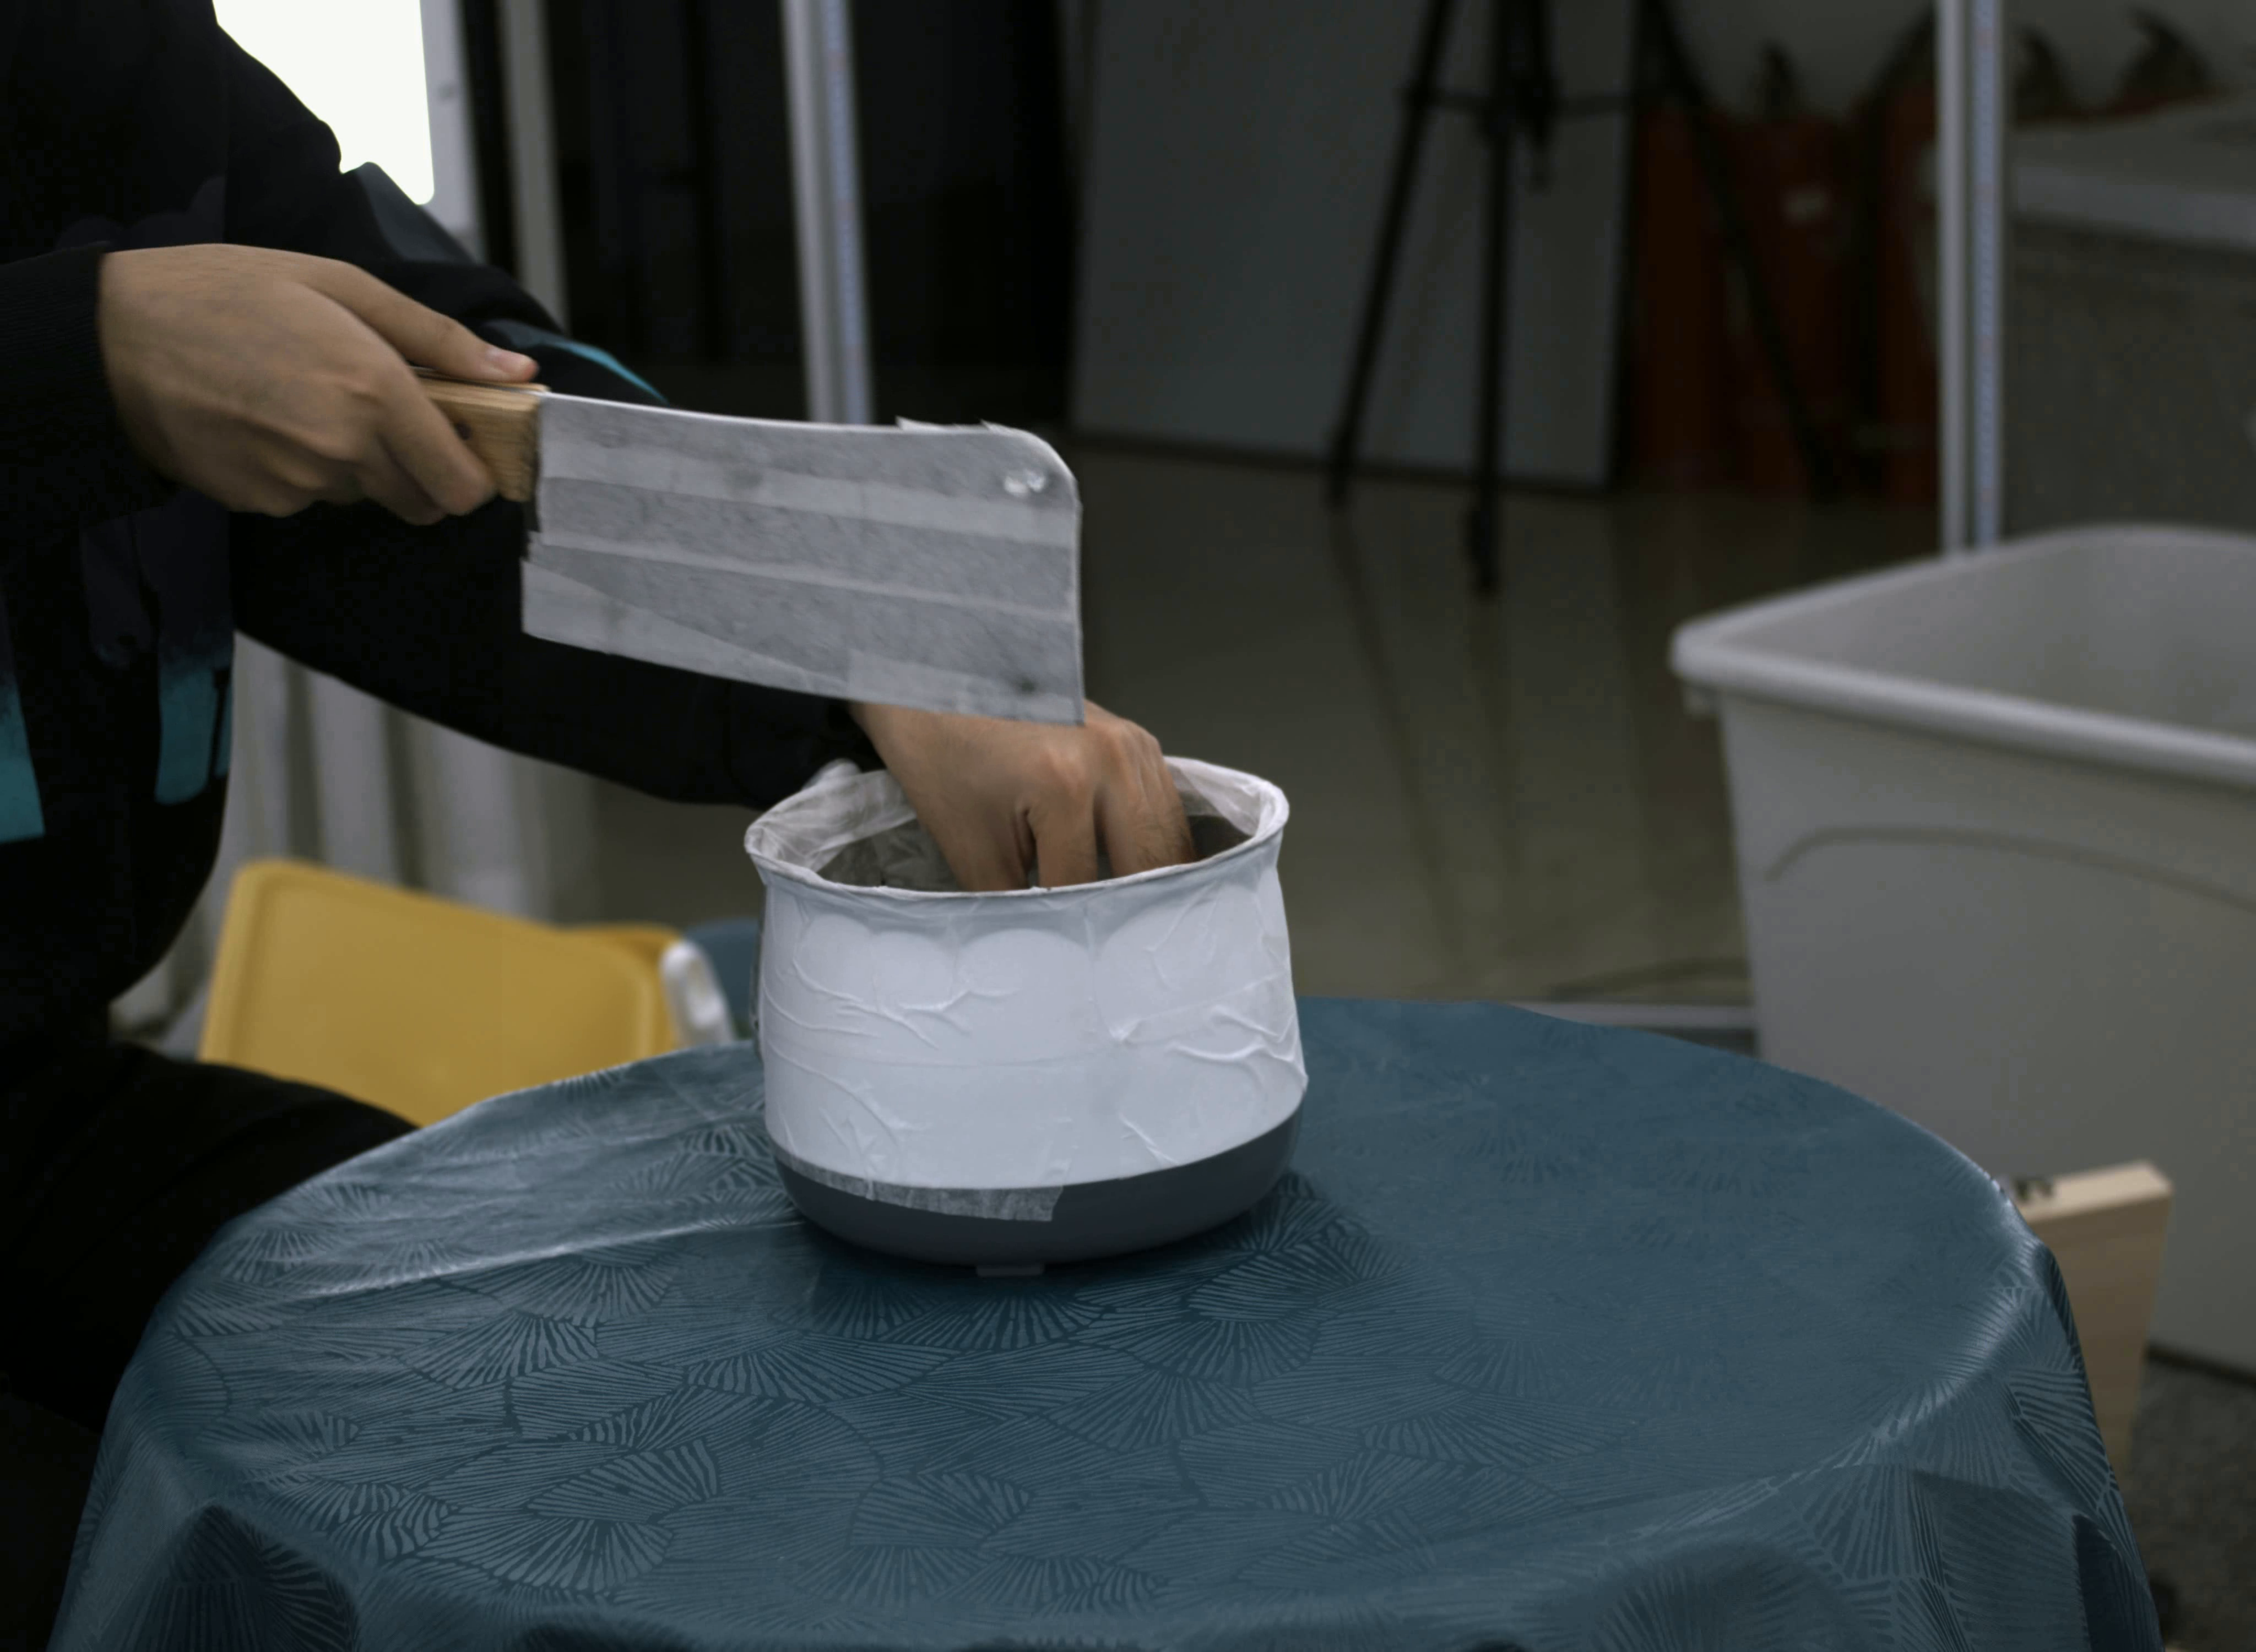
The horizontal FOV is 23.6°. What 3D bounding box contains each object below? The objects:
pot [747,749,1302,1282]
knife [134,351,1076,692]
[{"bbox_3d":[-0.049,0.055,1.766,0.175,0.138,0.236,-13,17,-36],"label":"pot"},{"bbox_3d":[-0.162,-0.107,1.687,0.314,0.115,0.021,12,28,12],"label":"knife"}]
